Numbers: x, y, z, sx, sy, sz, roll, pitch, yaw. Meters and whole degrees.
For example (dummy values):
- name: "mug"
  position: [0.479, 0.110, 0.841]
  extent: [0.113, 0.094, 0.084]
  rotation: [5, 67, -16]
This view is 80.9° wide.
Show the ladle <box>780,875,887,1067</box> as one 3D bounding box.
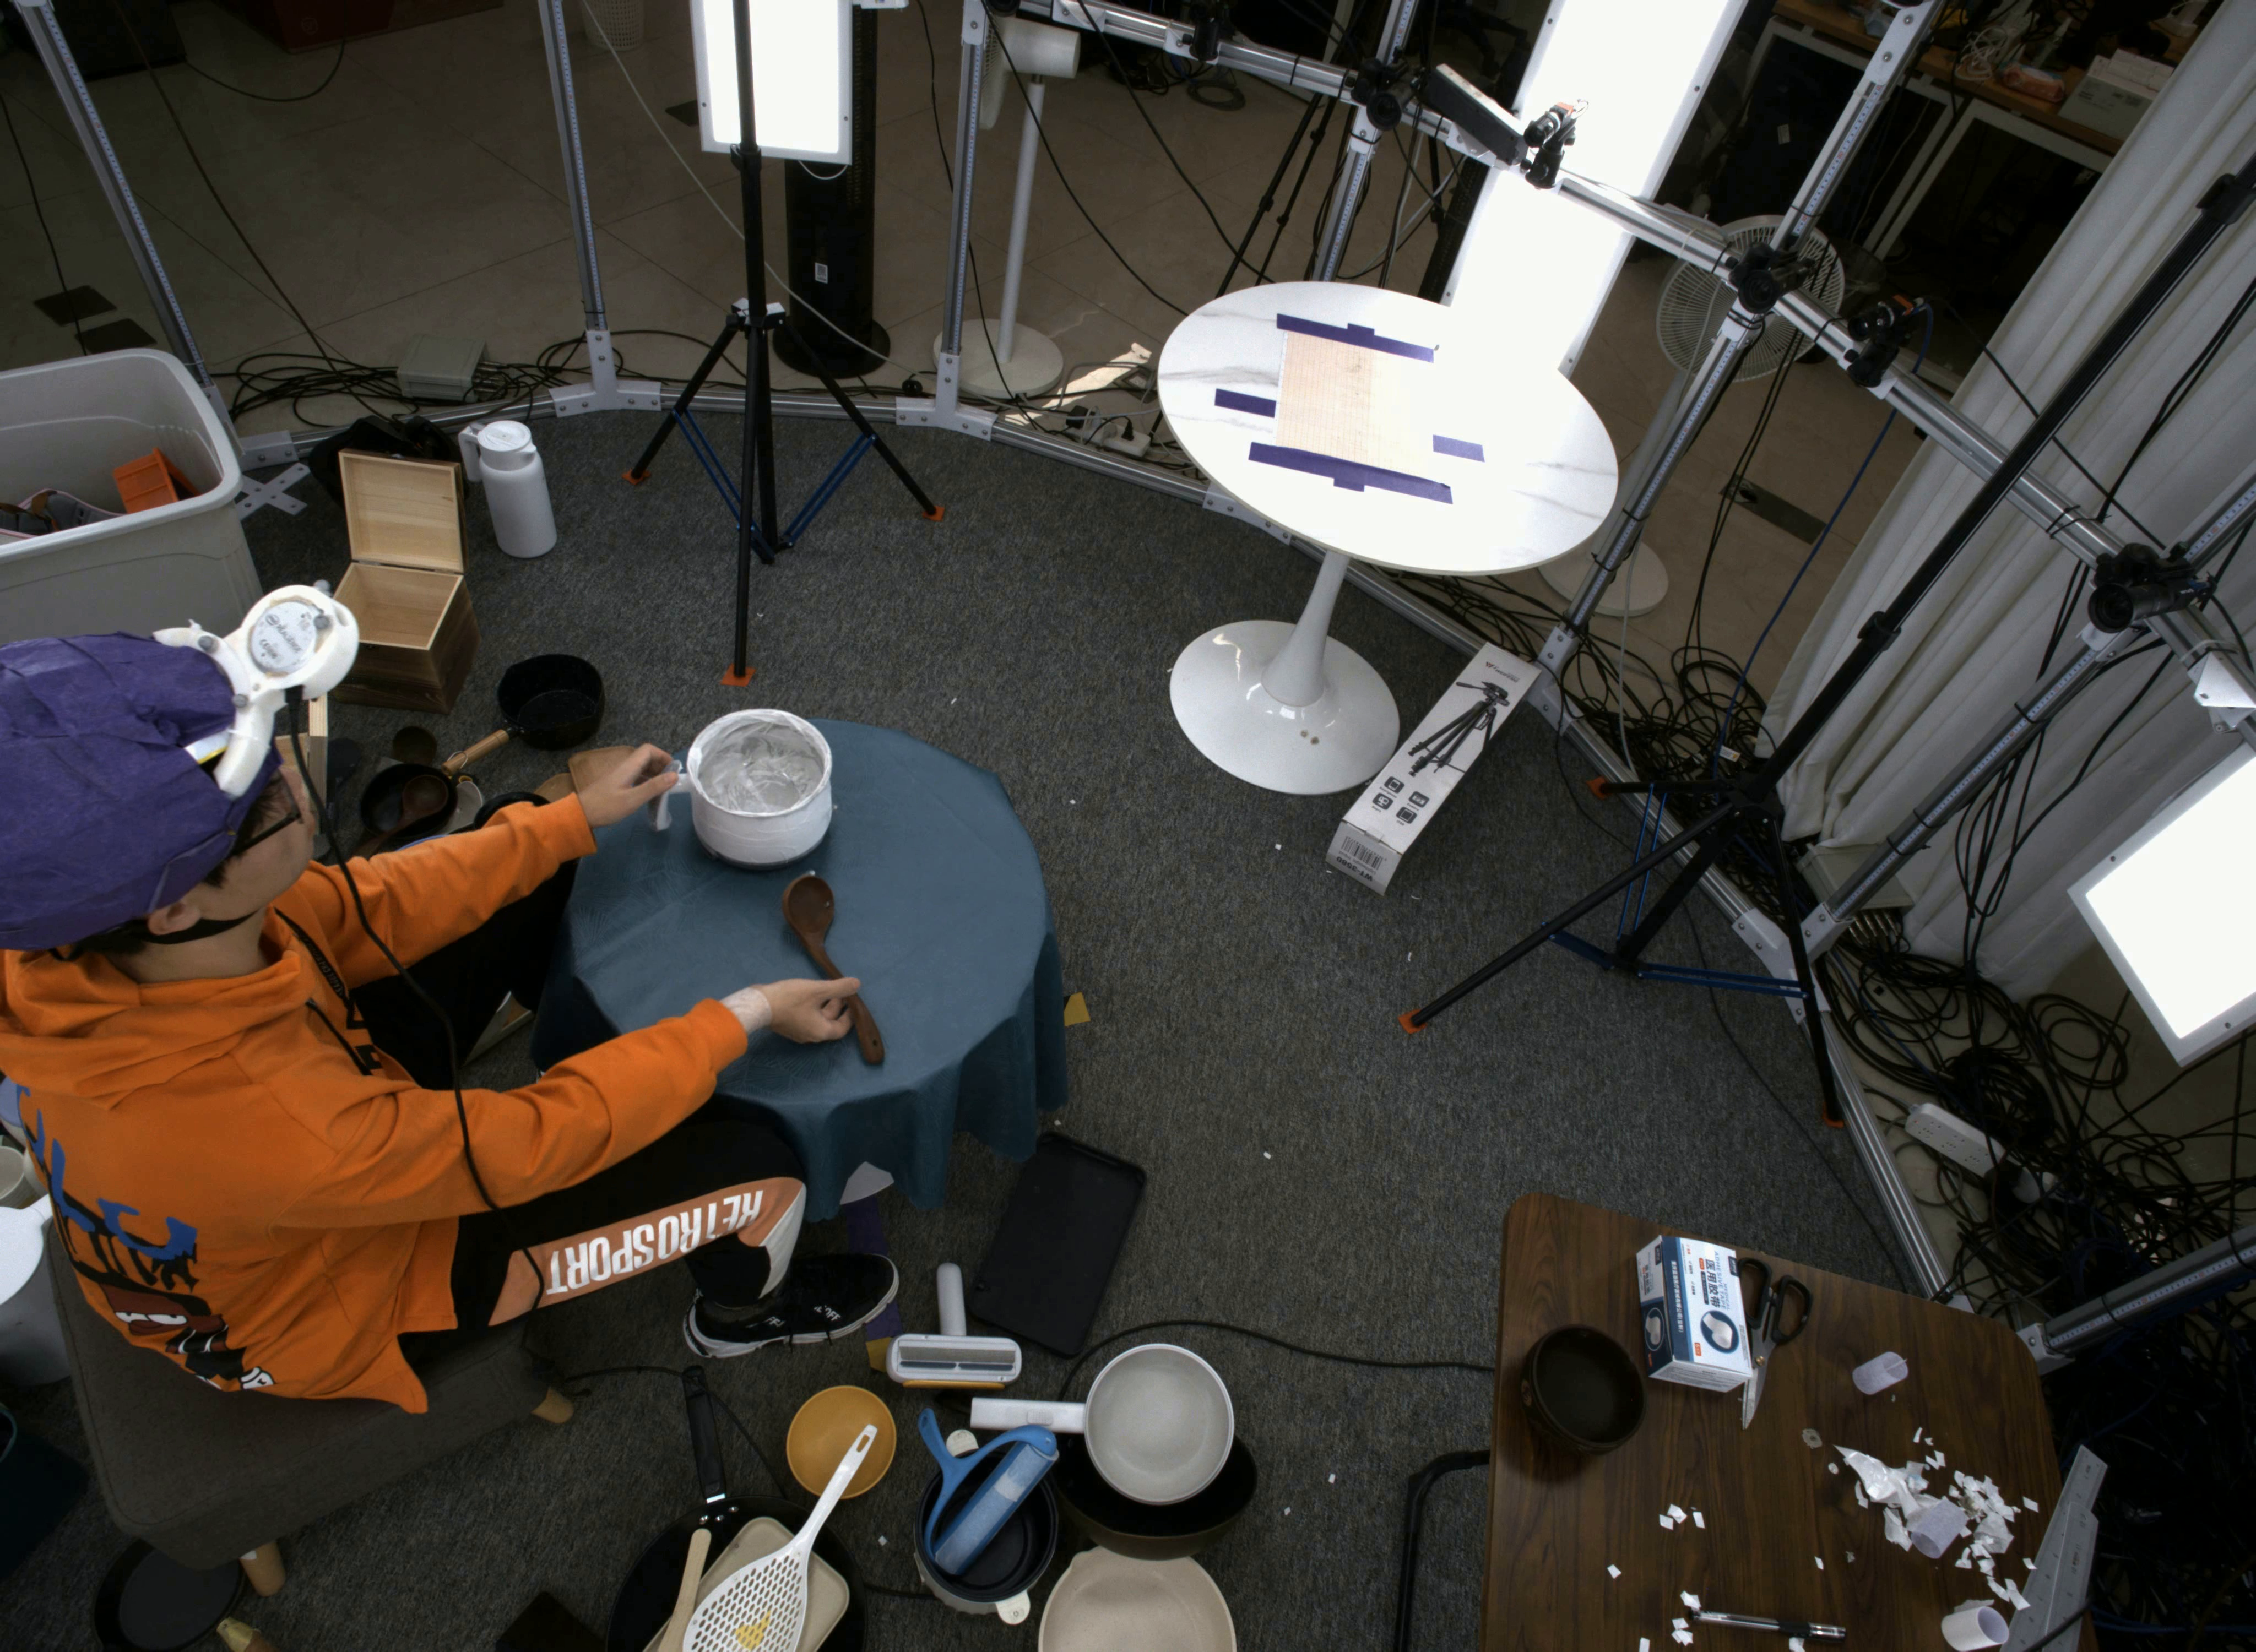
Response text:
- name: "ladle"
  position: [-0.347, 0.168, 1.569]
  extent: [0.078, 0.065, 0.253]
  rotation: [-4, 50, -49]

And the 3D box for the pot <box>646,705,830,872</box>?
- name: "pot"
  position: [-0.495, -0.042, 1.637]
  extent: [0.234, 0.139, 0.174]
  rotation: [-5, 54, -18]
